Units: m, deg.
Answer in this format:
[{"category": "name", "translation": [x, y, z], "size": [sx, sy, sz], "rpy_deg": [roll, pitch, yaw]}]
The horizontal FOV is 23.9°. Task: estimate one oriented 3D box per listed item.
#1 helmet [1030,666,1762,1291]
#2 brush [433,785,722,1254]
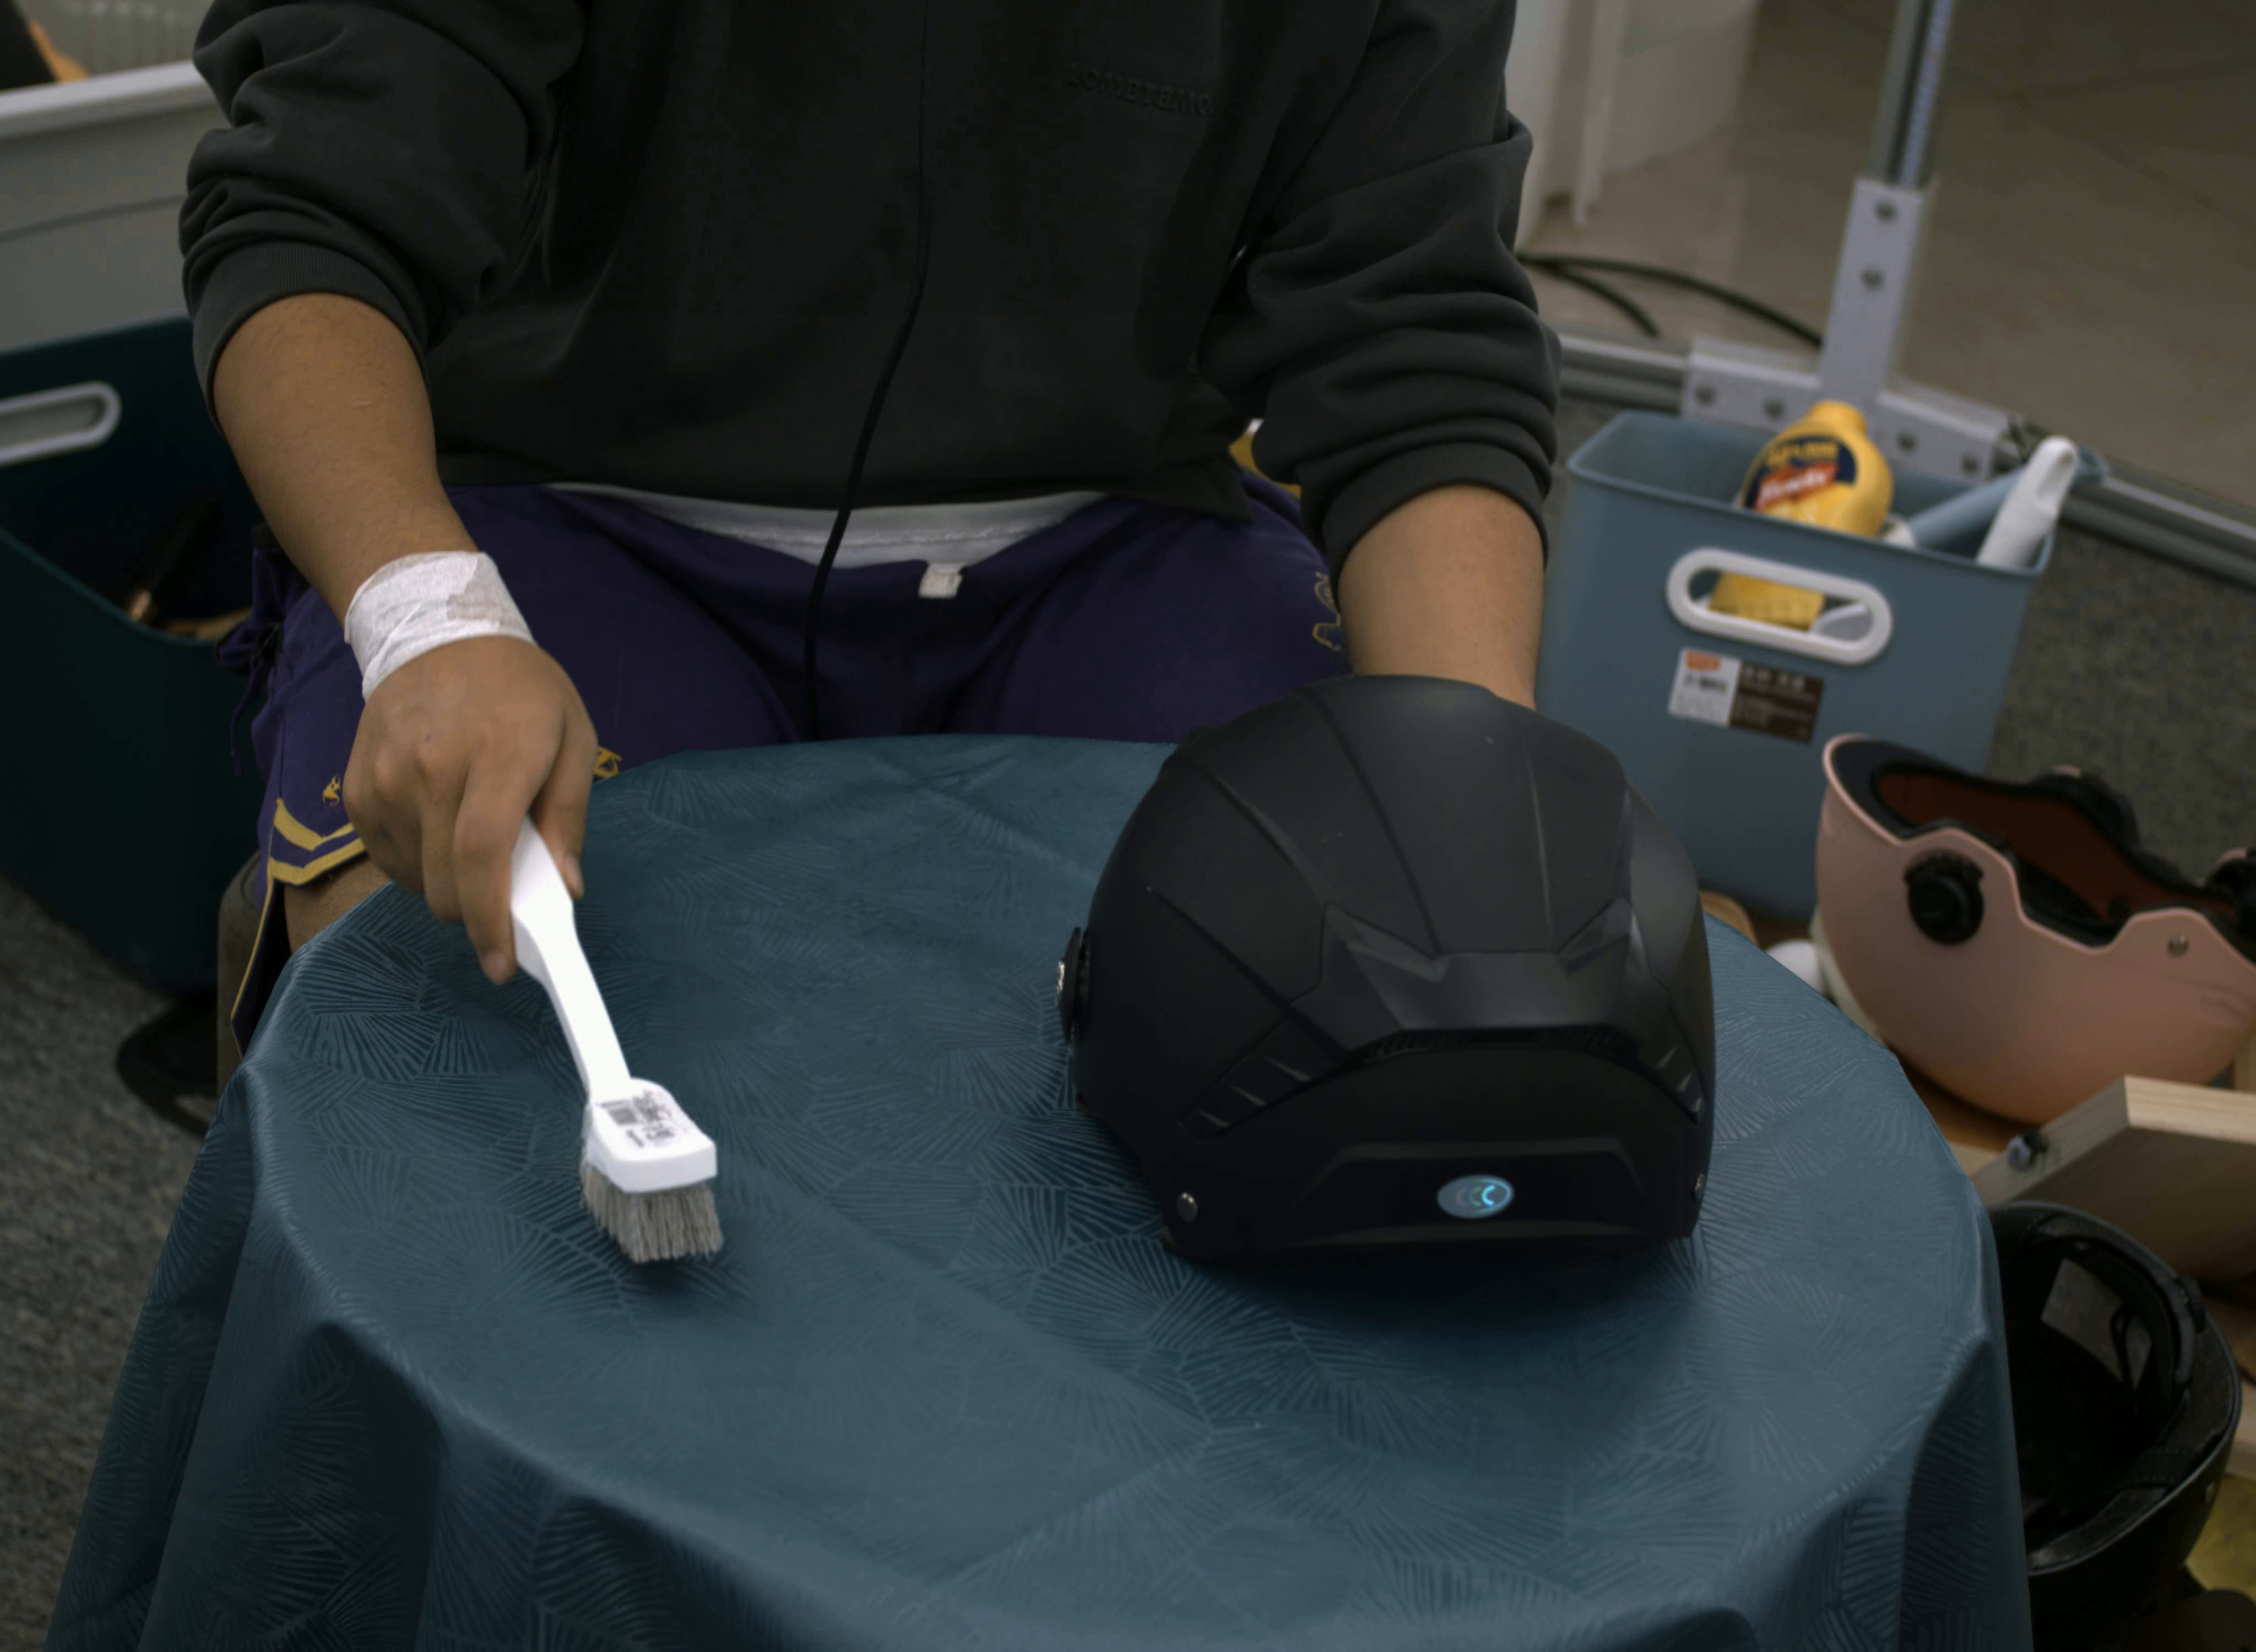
[{"category": "helmet", "translation": [0.098, 0.035, 1.816], "size": [0.245, 0.172, 0.279], "rpy_deg": [0, 32, -9]}, {"category": "brush", "translation": [-0.189, 0.066, 1.794], "size": [0.034, 0.050, 0.246], "rpy_deg": [-11, 36, -21]}]
